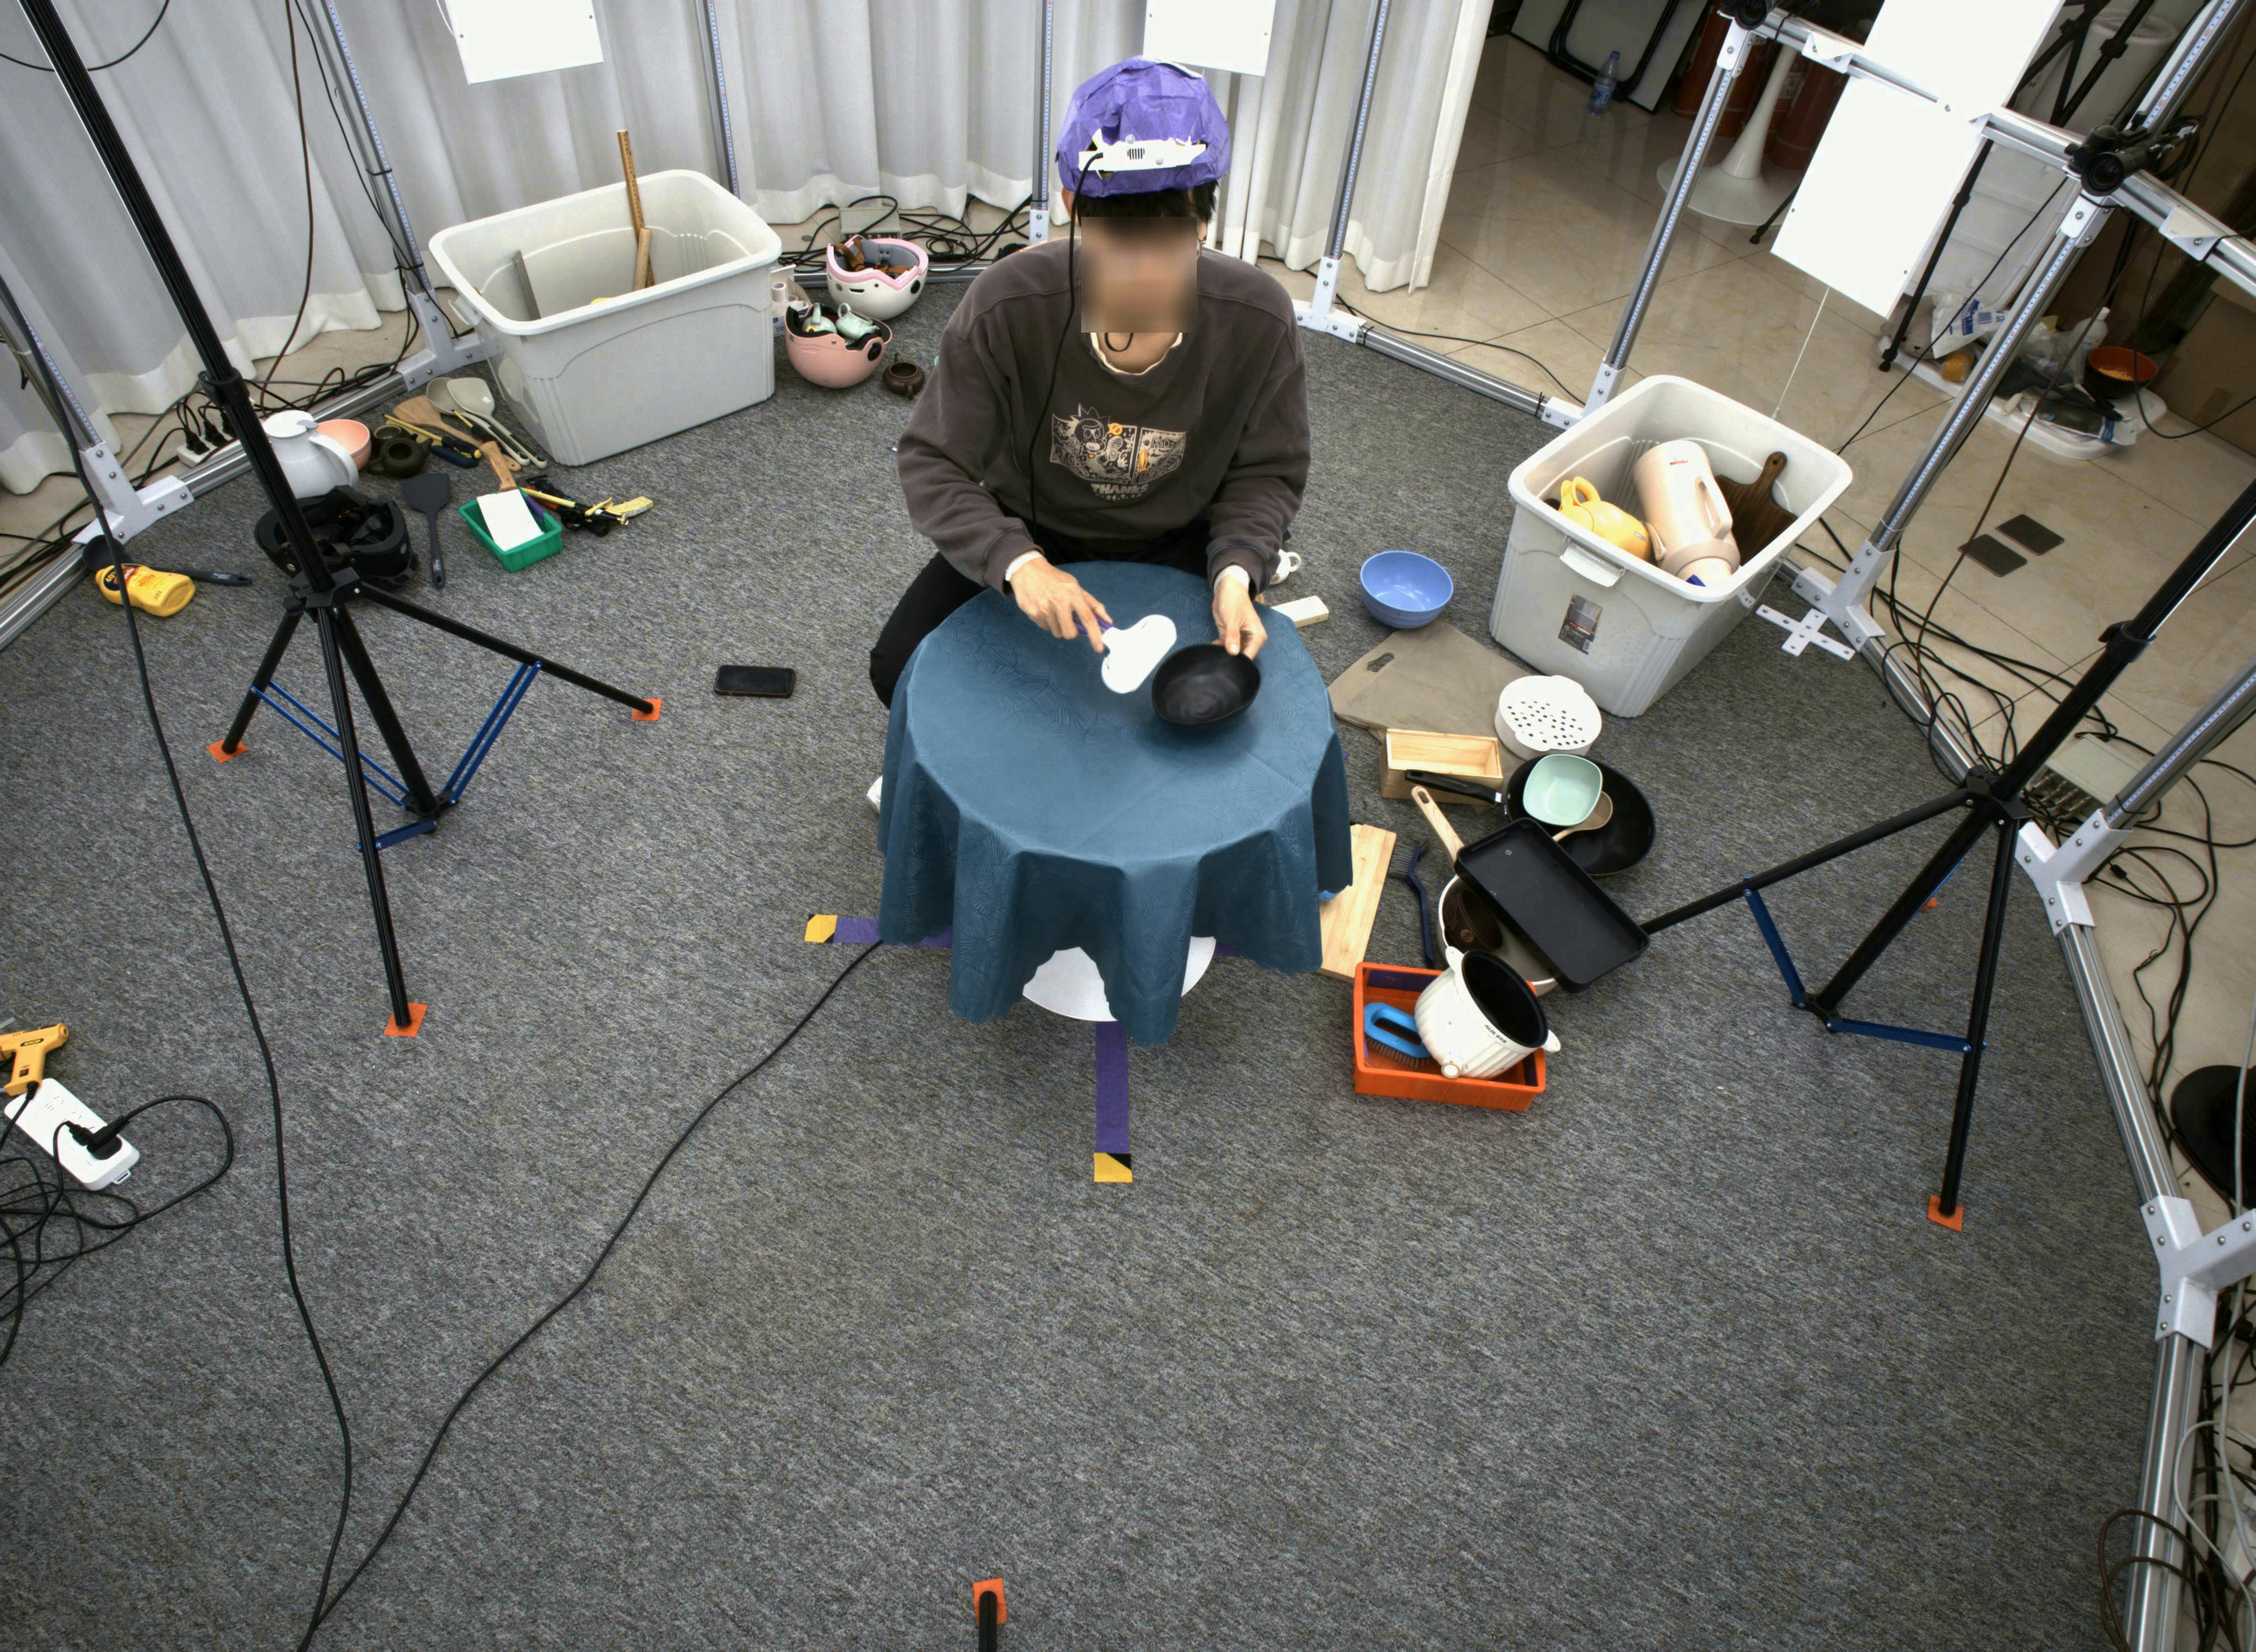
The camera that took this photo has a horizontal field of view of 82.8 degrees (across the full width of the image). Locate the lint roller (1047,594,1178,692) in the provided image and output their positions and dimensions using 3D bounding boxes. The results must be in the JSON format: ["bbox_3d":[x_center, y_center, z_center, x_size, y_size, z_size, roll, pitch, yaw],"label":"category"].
[{"bbox_3d":[-0.030,-0.272,1.743,0.181,0.049,0.135,37,60,7],"label":"lint roller"}]

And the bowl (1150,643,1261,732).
[{"bbox_3d":[0.107,-0.180,1.788,0.139,0.065,0.172,35,57,26],"label":"bowl"}]
